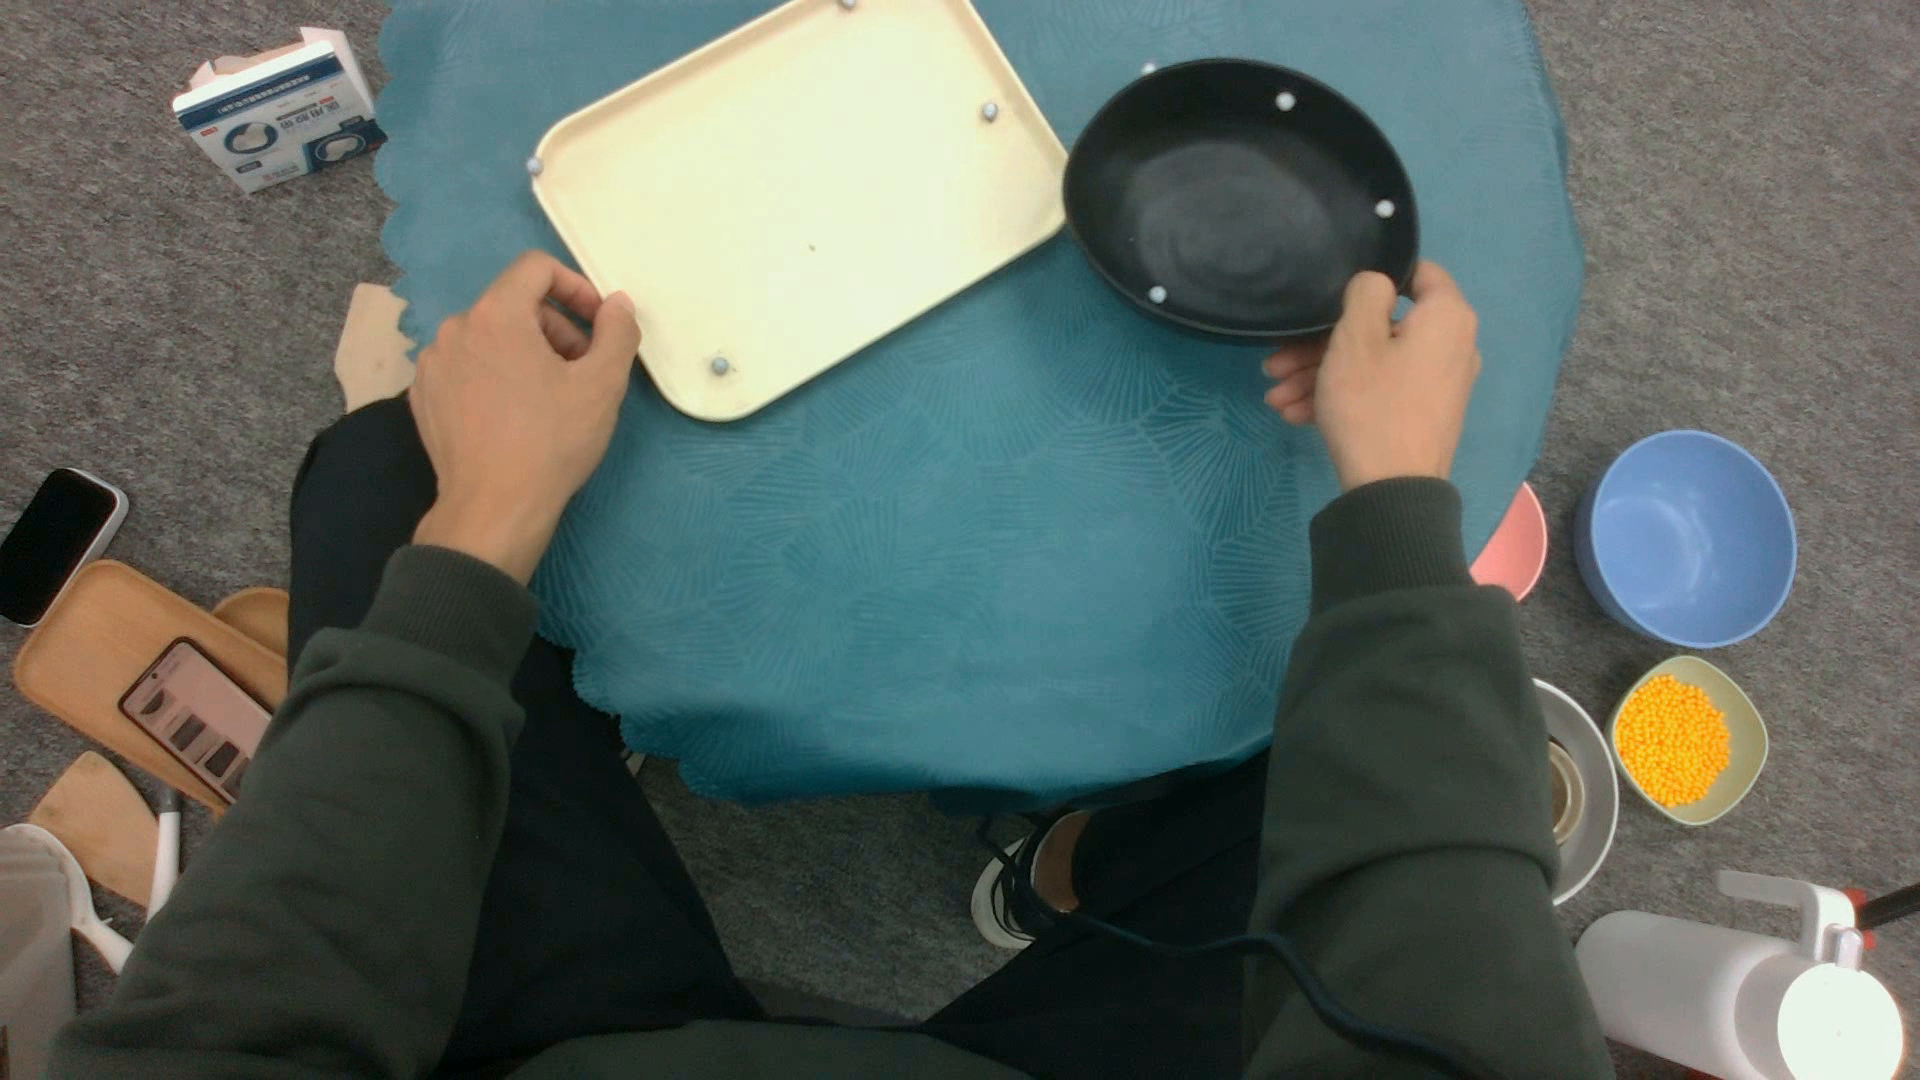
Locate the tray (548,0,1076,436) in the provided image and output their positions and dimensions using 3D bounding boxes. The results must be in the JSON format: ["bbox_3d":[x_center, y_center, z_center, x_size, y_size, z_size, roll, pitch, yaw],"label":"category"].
[{"bbox_3d":[-0.073,-0.173,0.706,0.240,0.017,0.171,-33,86,-10],"label":"tray"}]

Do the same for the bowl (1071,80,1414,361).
[{"bbox_3d":[0.138,-0.150,0.686,0.170,0.066,0.137,15,80,4],"label":"bowl"}]
